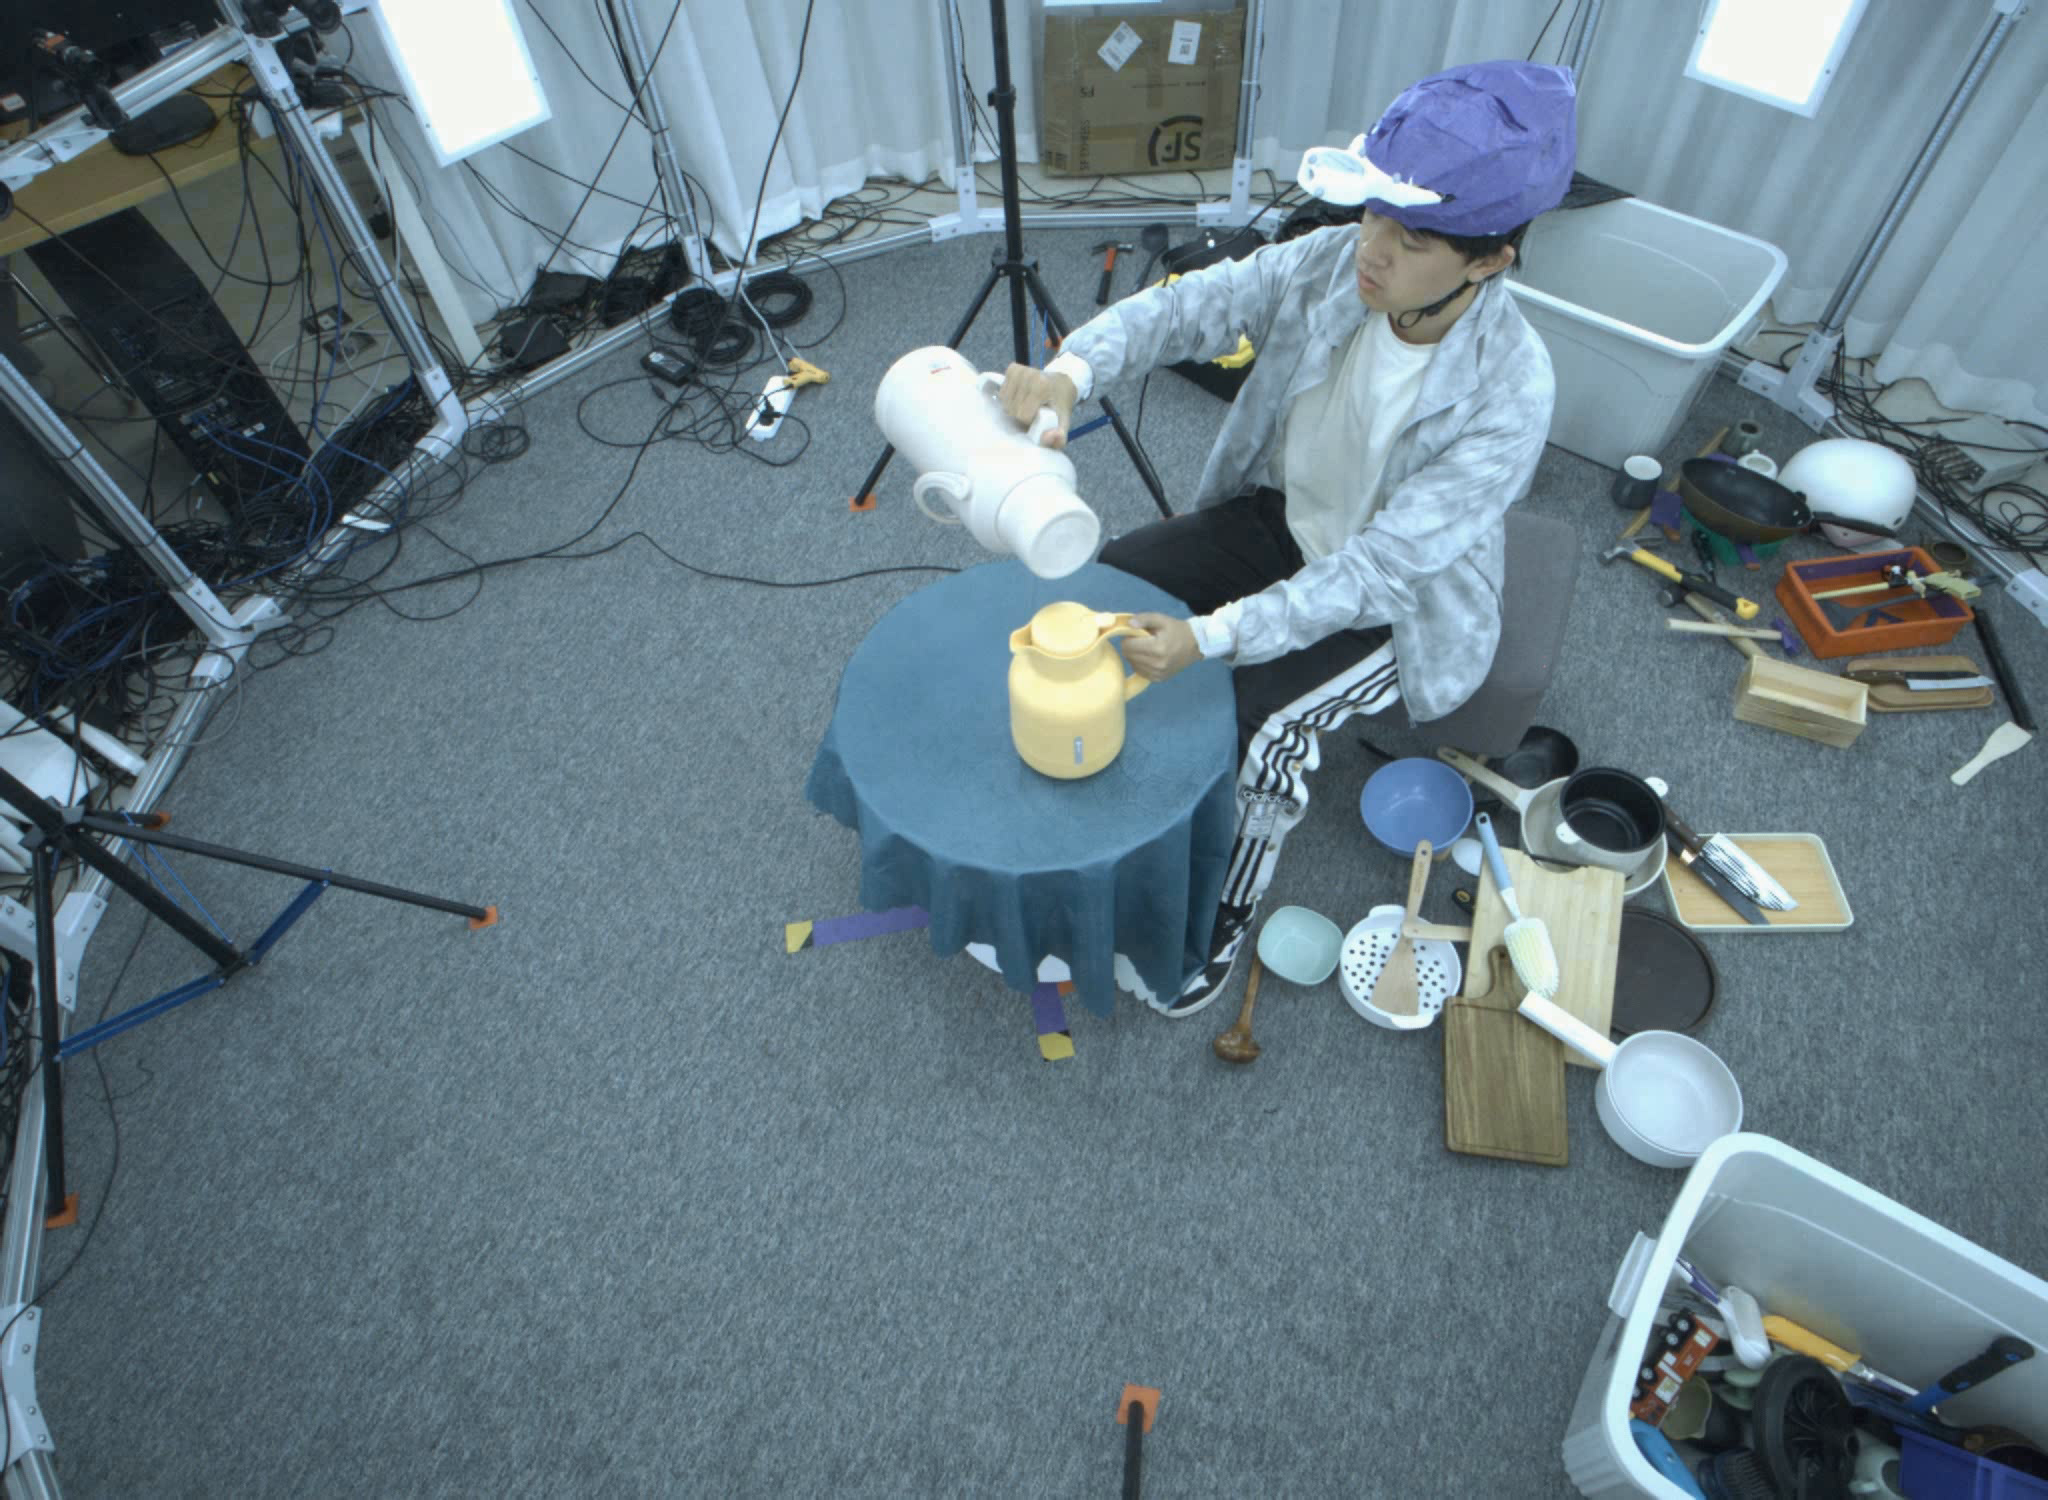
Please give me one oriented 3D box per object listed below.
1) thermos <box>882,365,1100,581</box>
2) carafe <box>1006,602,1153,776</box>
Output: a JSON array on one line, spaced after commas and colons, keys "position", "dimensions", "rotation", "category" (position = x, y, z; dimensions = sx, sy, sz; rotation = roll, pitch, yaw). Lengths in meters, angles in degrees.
[{"position": [-0.041, -0.389, 1.611], "dimensions": [0.179, 0.207, 0.398], "rotation": [-4, 43, -36], "category": "thermos"}, {"position": [0.077, -0.091, 1.691], "dimensions": [0.203, 0.263, 0.161], "rotation": [-10, 57, -3], "category": "carafe"}]
